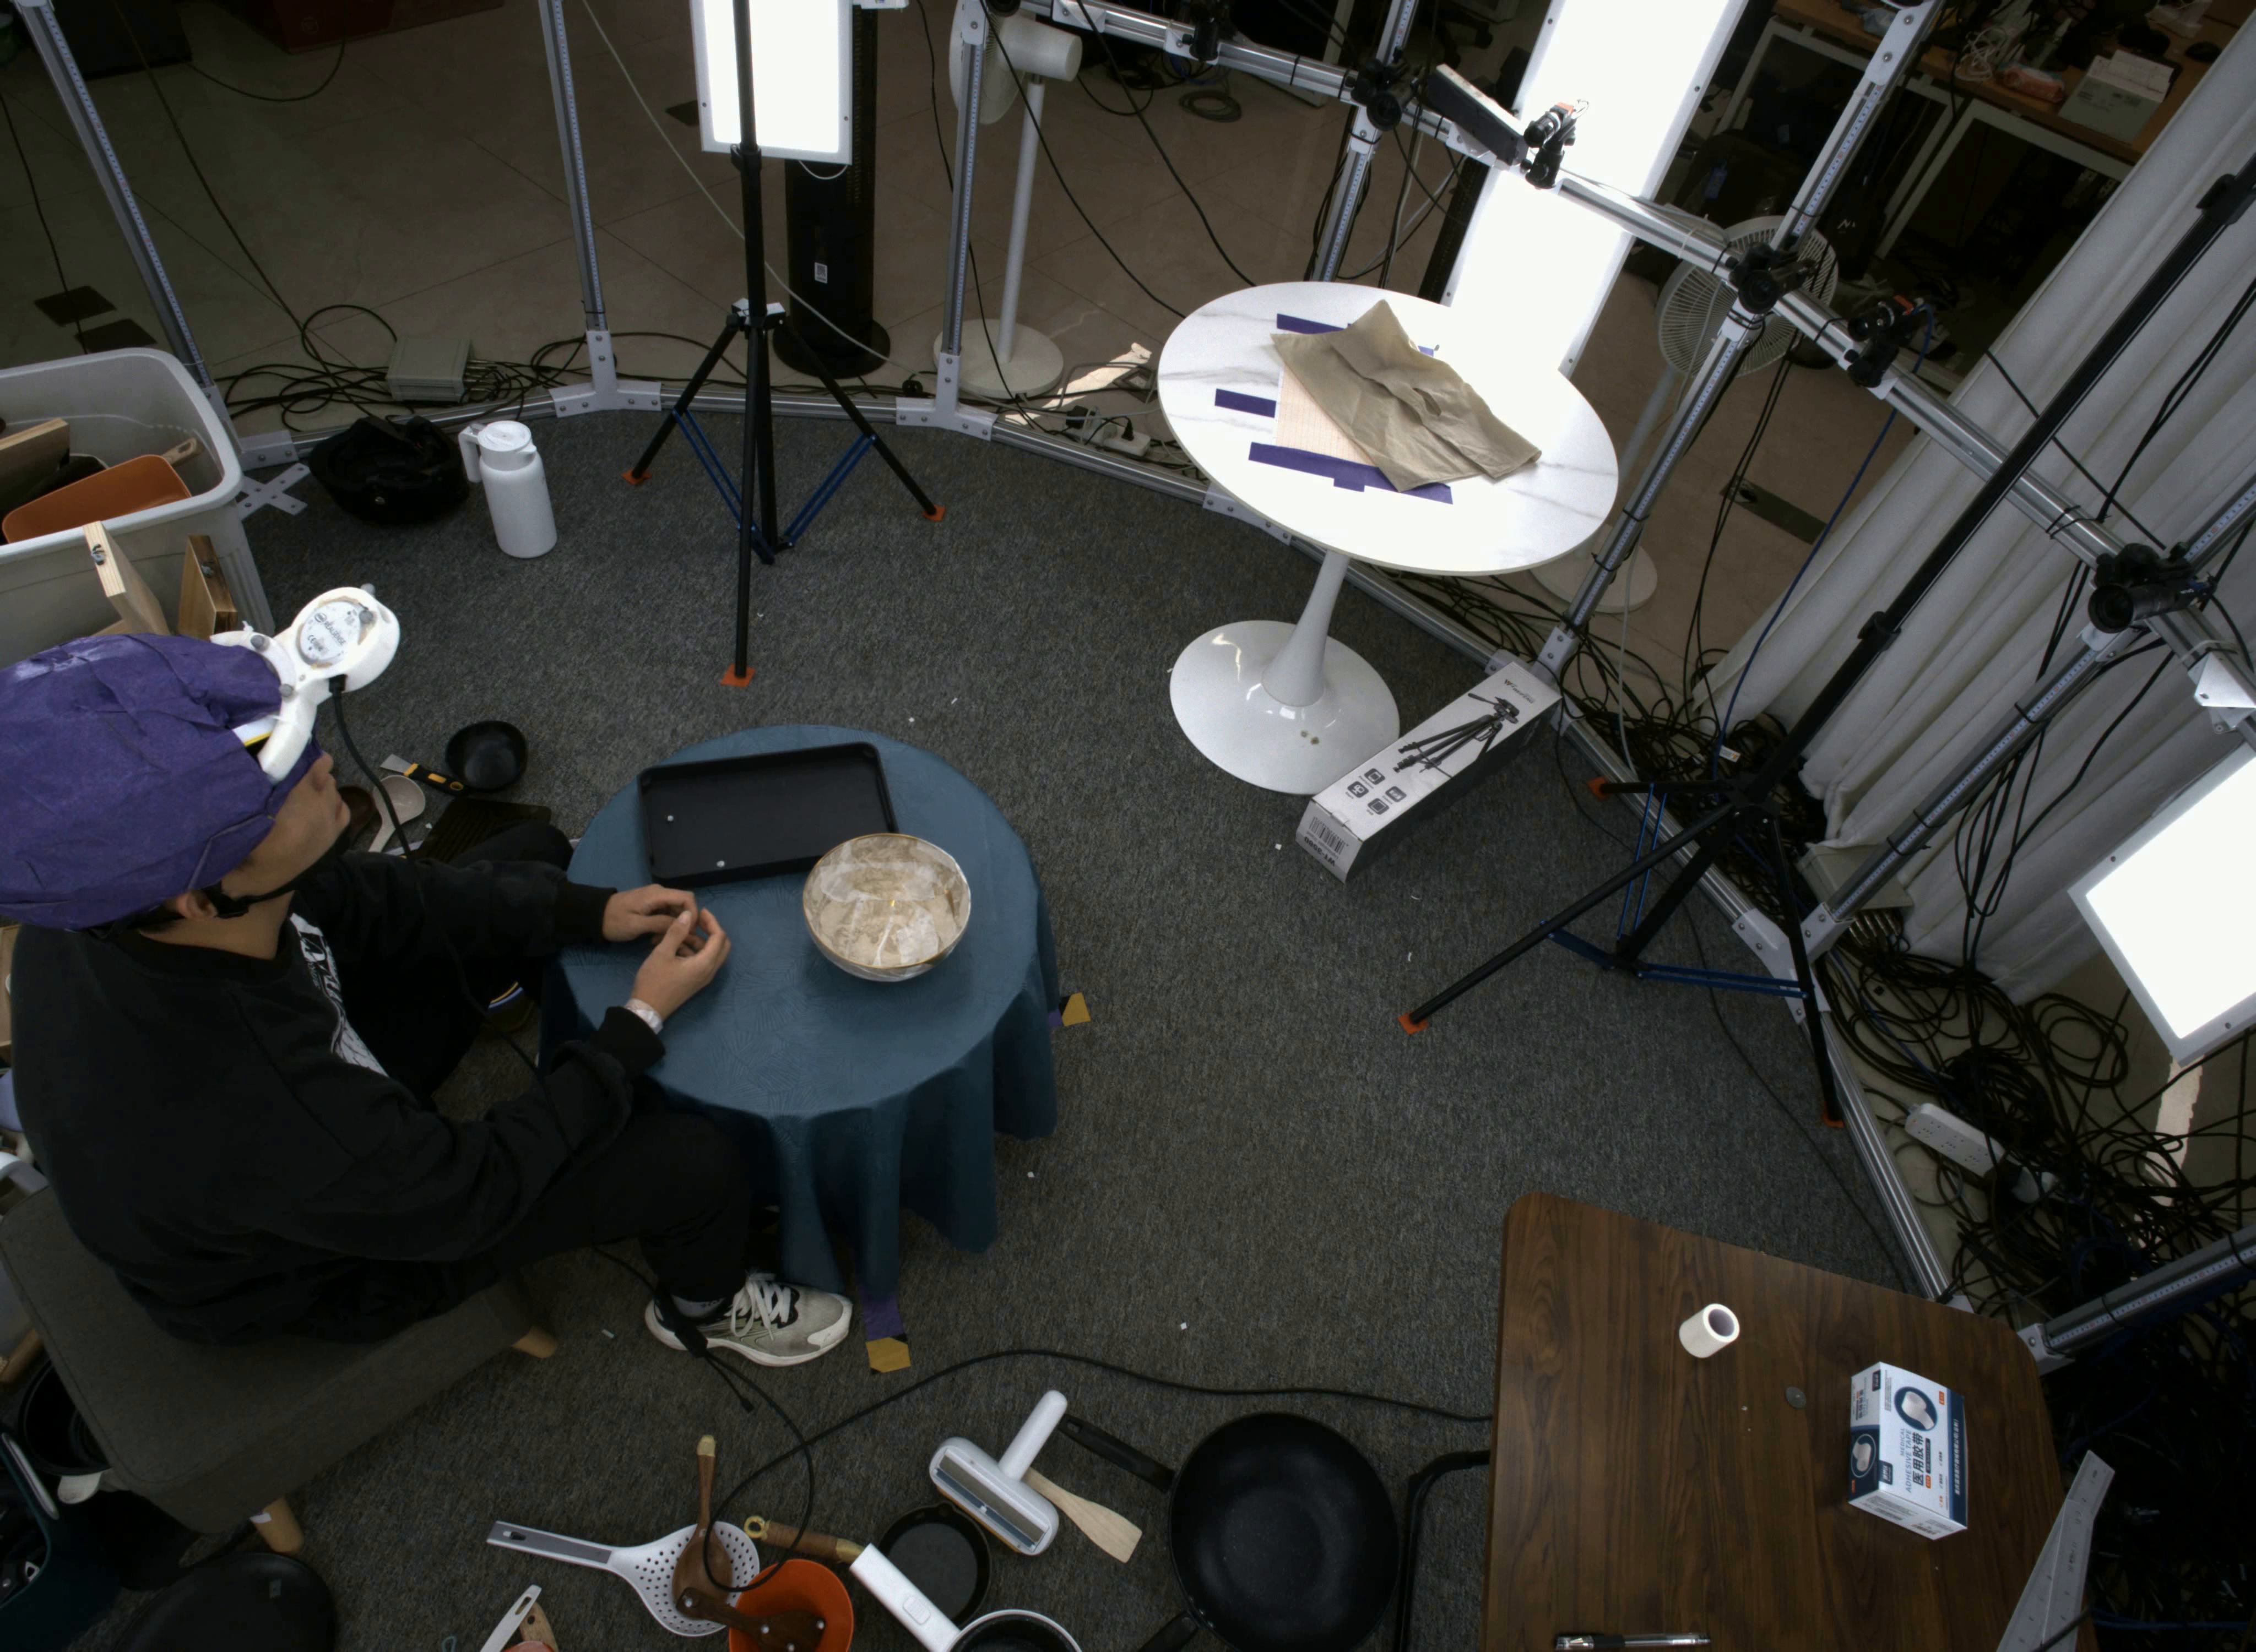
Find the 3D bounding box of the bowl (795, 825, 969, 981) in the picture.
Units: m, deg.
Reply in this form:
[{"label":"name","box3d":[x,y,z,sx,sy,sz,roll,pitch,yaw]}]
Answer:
[{"label":"bowl","box3d":[-0.305,0.111,1.618,0.214,0.096,0.211,8,53,-9]}]

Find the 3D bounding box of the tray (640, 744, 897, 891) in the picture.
[{"label":"tray","box3d":[-0.474,-0.016,1.706,0.319,0.038,0.180,-7,56,-20]}]
